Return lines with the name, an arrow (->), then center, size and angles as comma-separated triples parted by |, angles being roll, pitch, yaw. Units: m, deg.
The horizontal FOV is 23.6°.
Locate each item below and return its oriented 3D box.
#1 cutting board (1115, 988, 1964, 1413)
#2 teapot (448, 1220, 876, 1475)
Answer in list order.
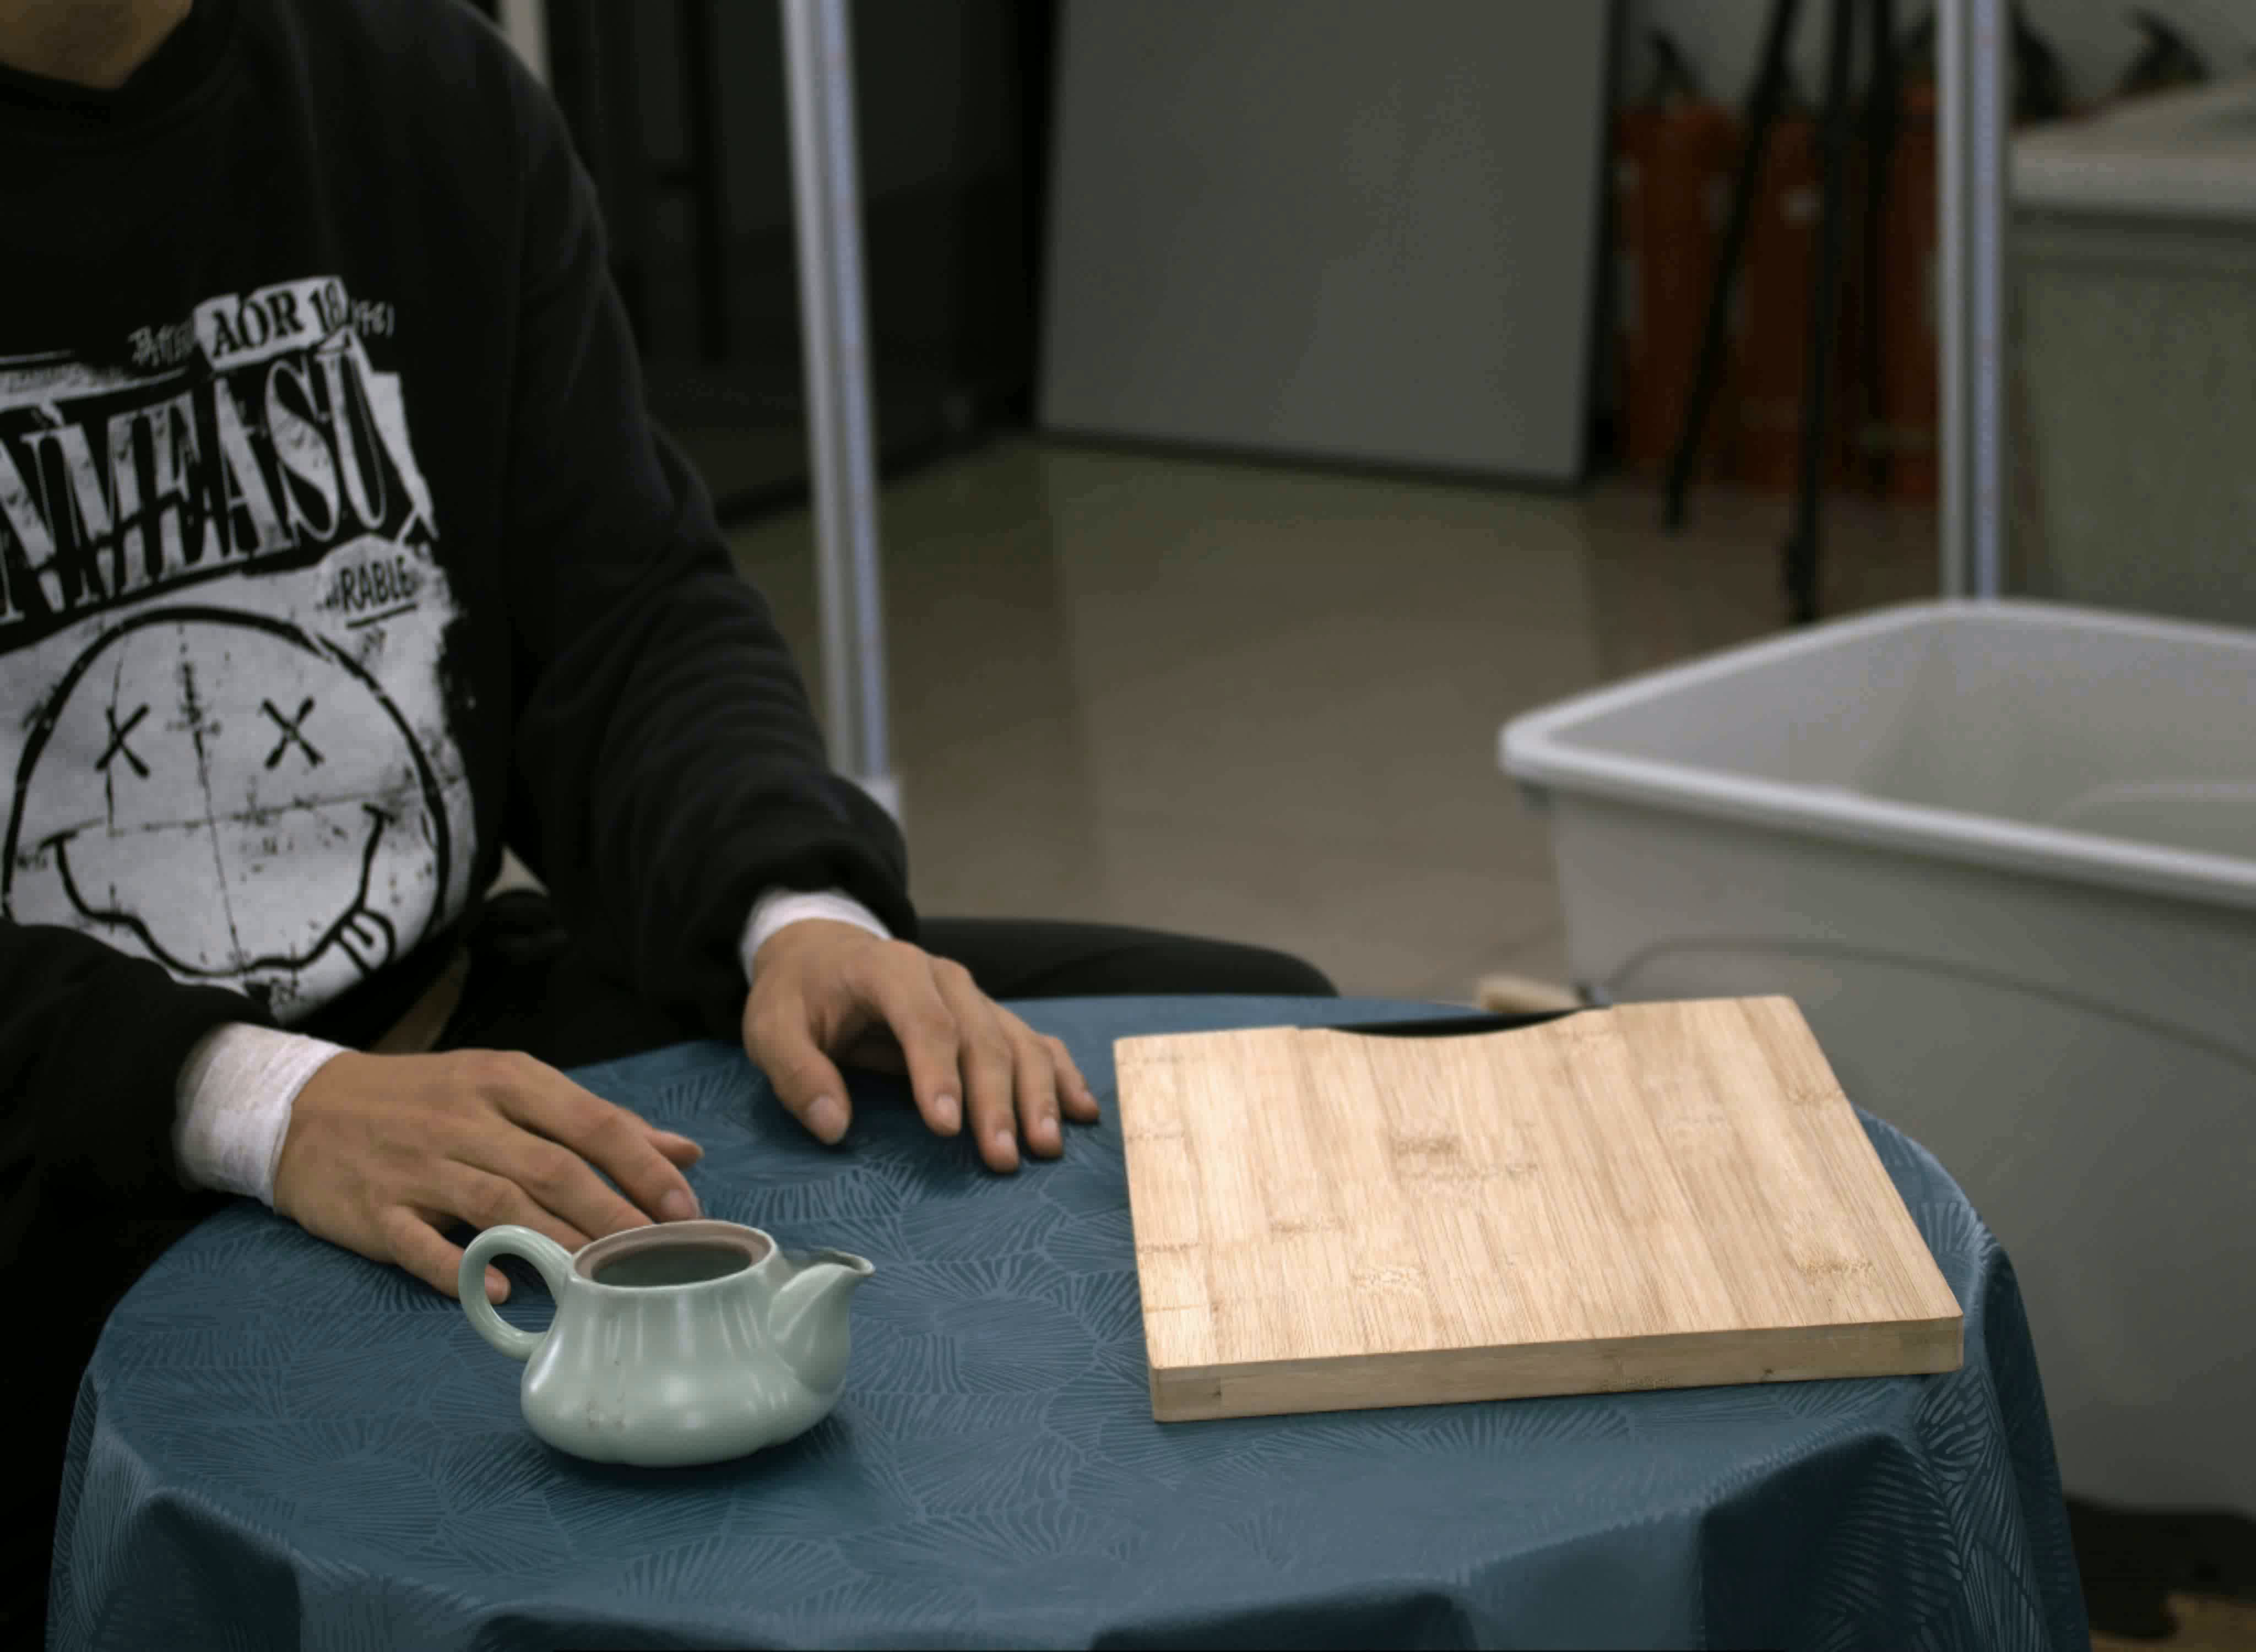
cutting board -> 0.120, 0.115, 1.726 | 0.247, 0.024, 0.349 | -5, 14, -1
teapot -> -0.134, 0.150, 1.572 | 0.137, 0.062, 0.095 | 2, 16, 21
